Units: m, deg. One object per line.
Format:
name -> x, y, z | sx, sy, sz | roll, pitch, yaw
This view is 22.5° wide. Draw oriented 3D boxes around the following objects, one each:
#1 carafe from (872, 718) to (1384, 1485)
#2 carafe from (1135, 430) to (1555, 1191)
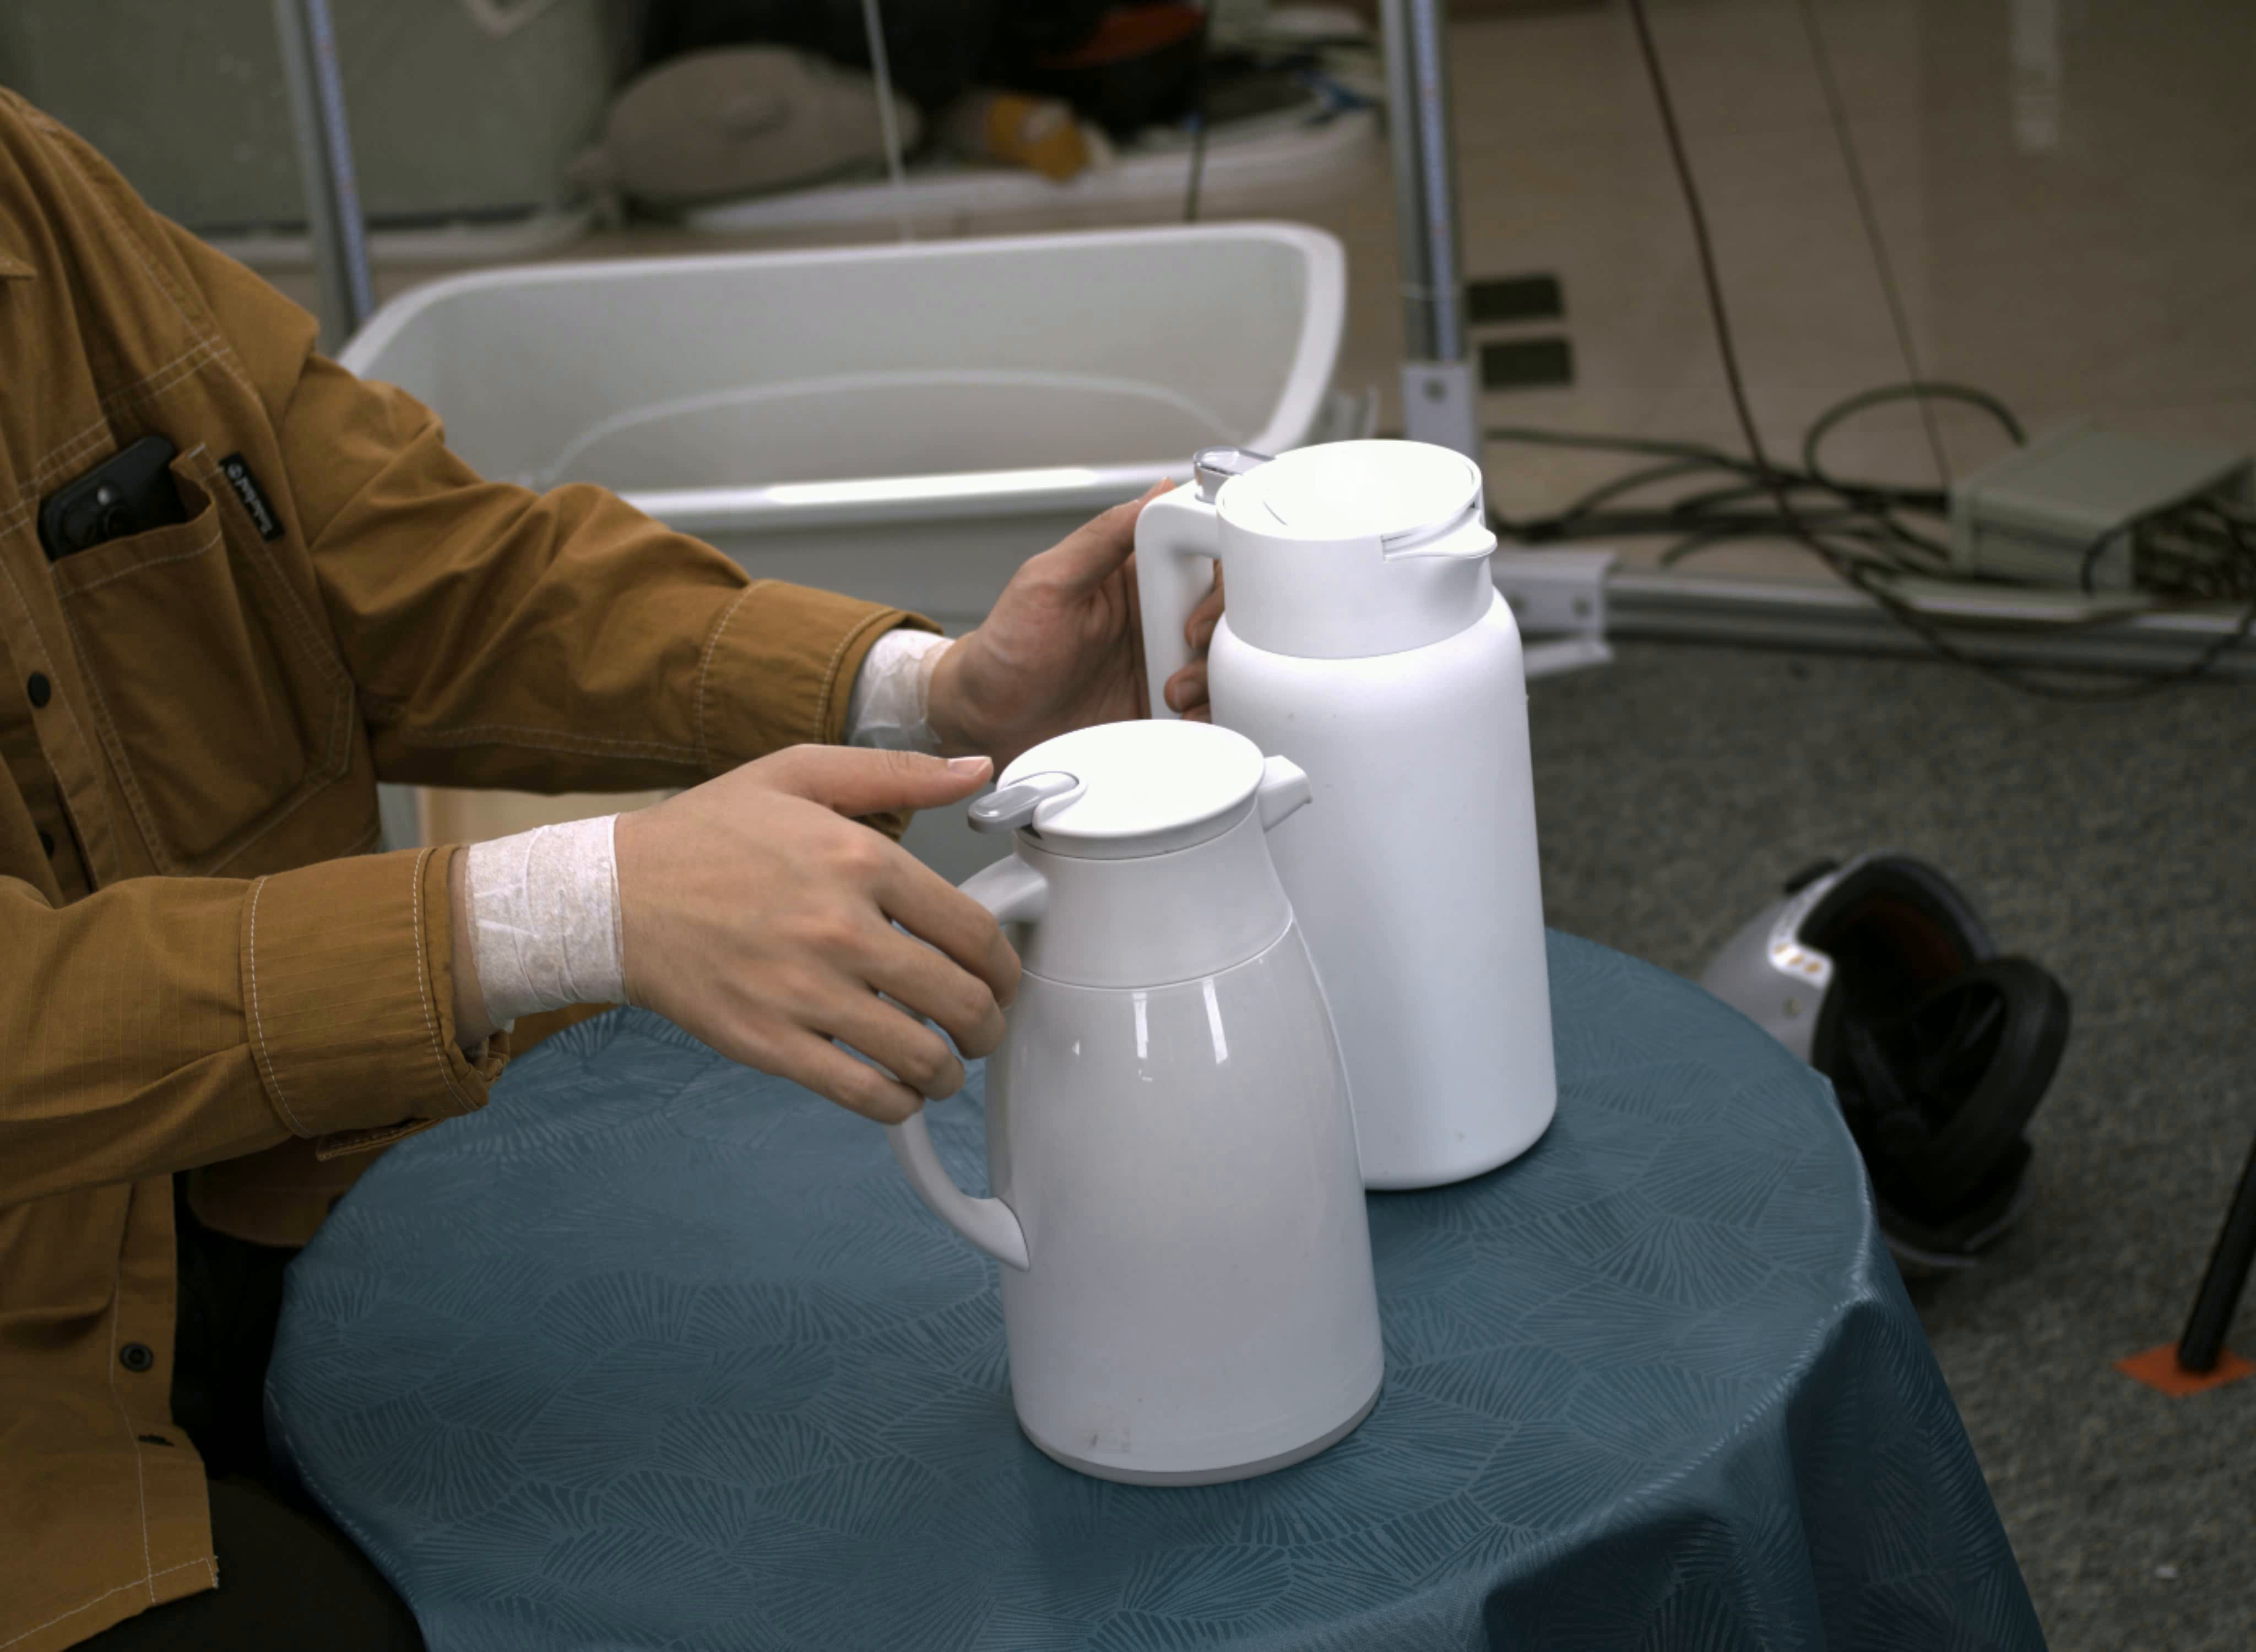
carafe -> -0.004, 0.094, 1.950 | 0.167, 0.252, 0.131 | -18, 28, -21
carafe -> 0.080, -0.008, 2.124 | 0.171, 0.273, 0.122 | 18, 37, 41
